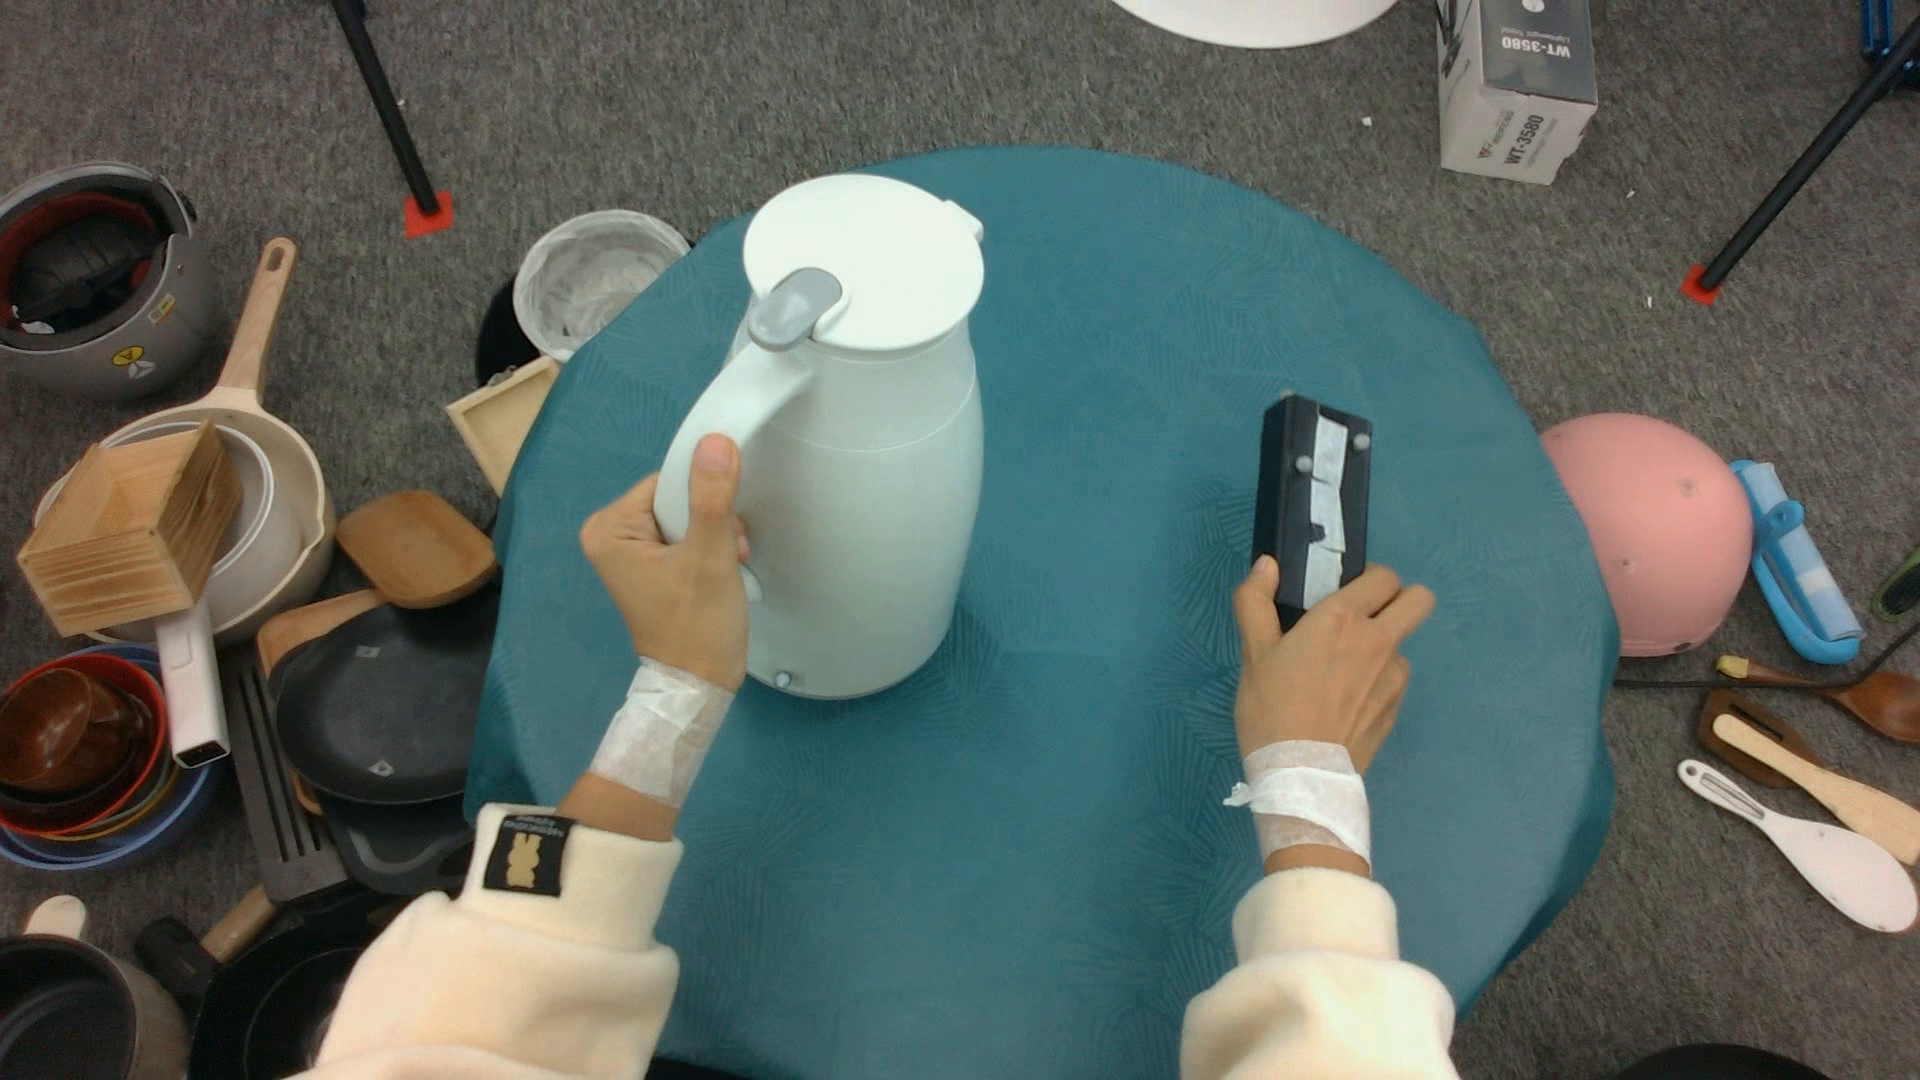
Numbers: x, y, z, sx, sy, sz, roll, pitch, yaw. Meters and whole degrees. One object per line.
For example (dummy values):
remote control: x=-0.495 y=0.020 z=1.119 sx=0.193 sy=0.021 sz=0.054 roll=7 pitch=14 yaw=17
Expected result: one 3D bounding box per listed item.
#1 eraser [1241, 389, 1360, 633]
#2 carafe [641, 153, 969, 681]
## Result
eraser: x=0.175 y=-0.017 z=0.706 sx=0.053 sy=0.030 sz=0.126 roll=15 pitch=61 yaw=-8
carafe: x=-0.069 y=-0.040 z=0.606 sx=0.132 sy=0.247 sz=0.168 roll=38 pitch=59 yaw=14
